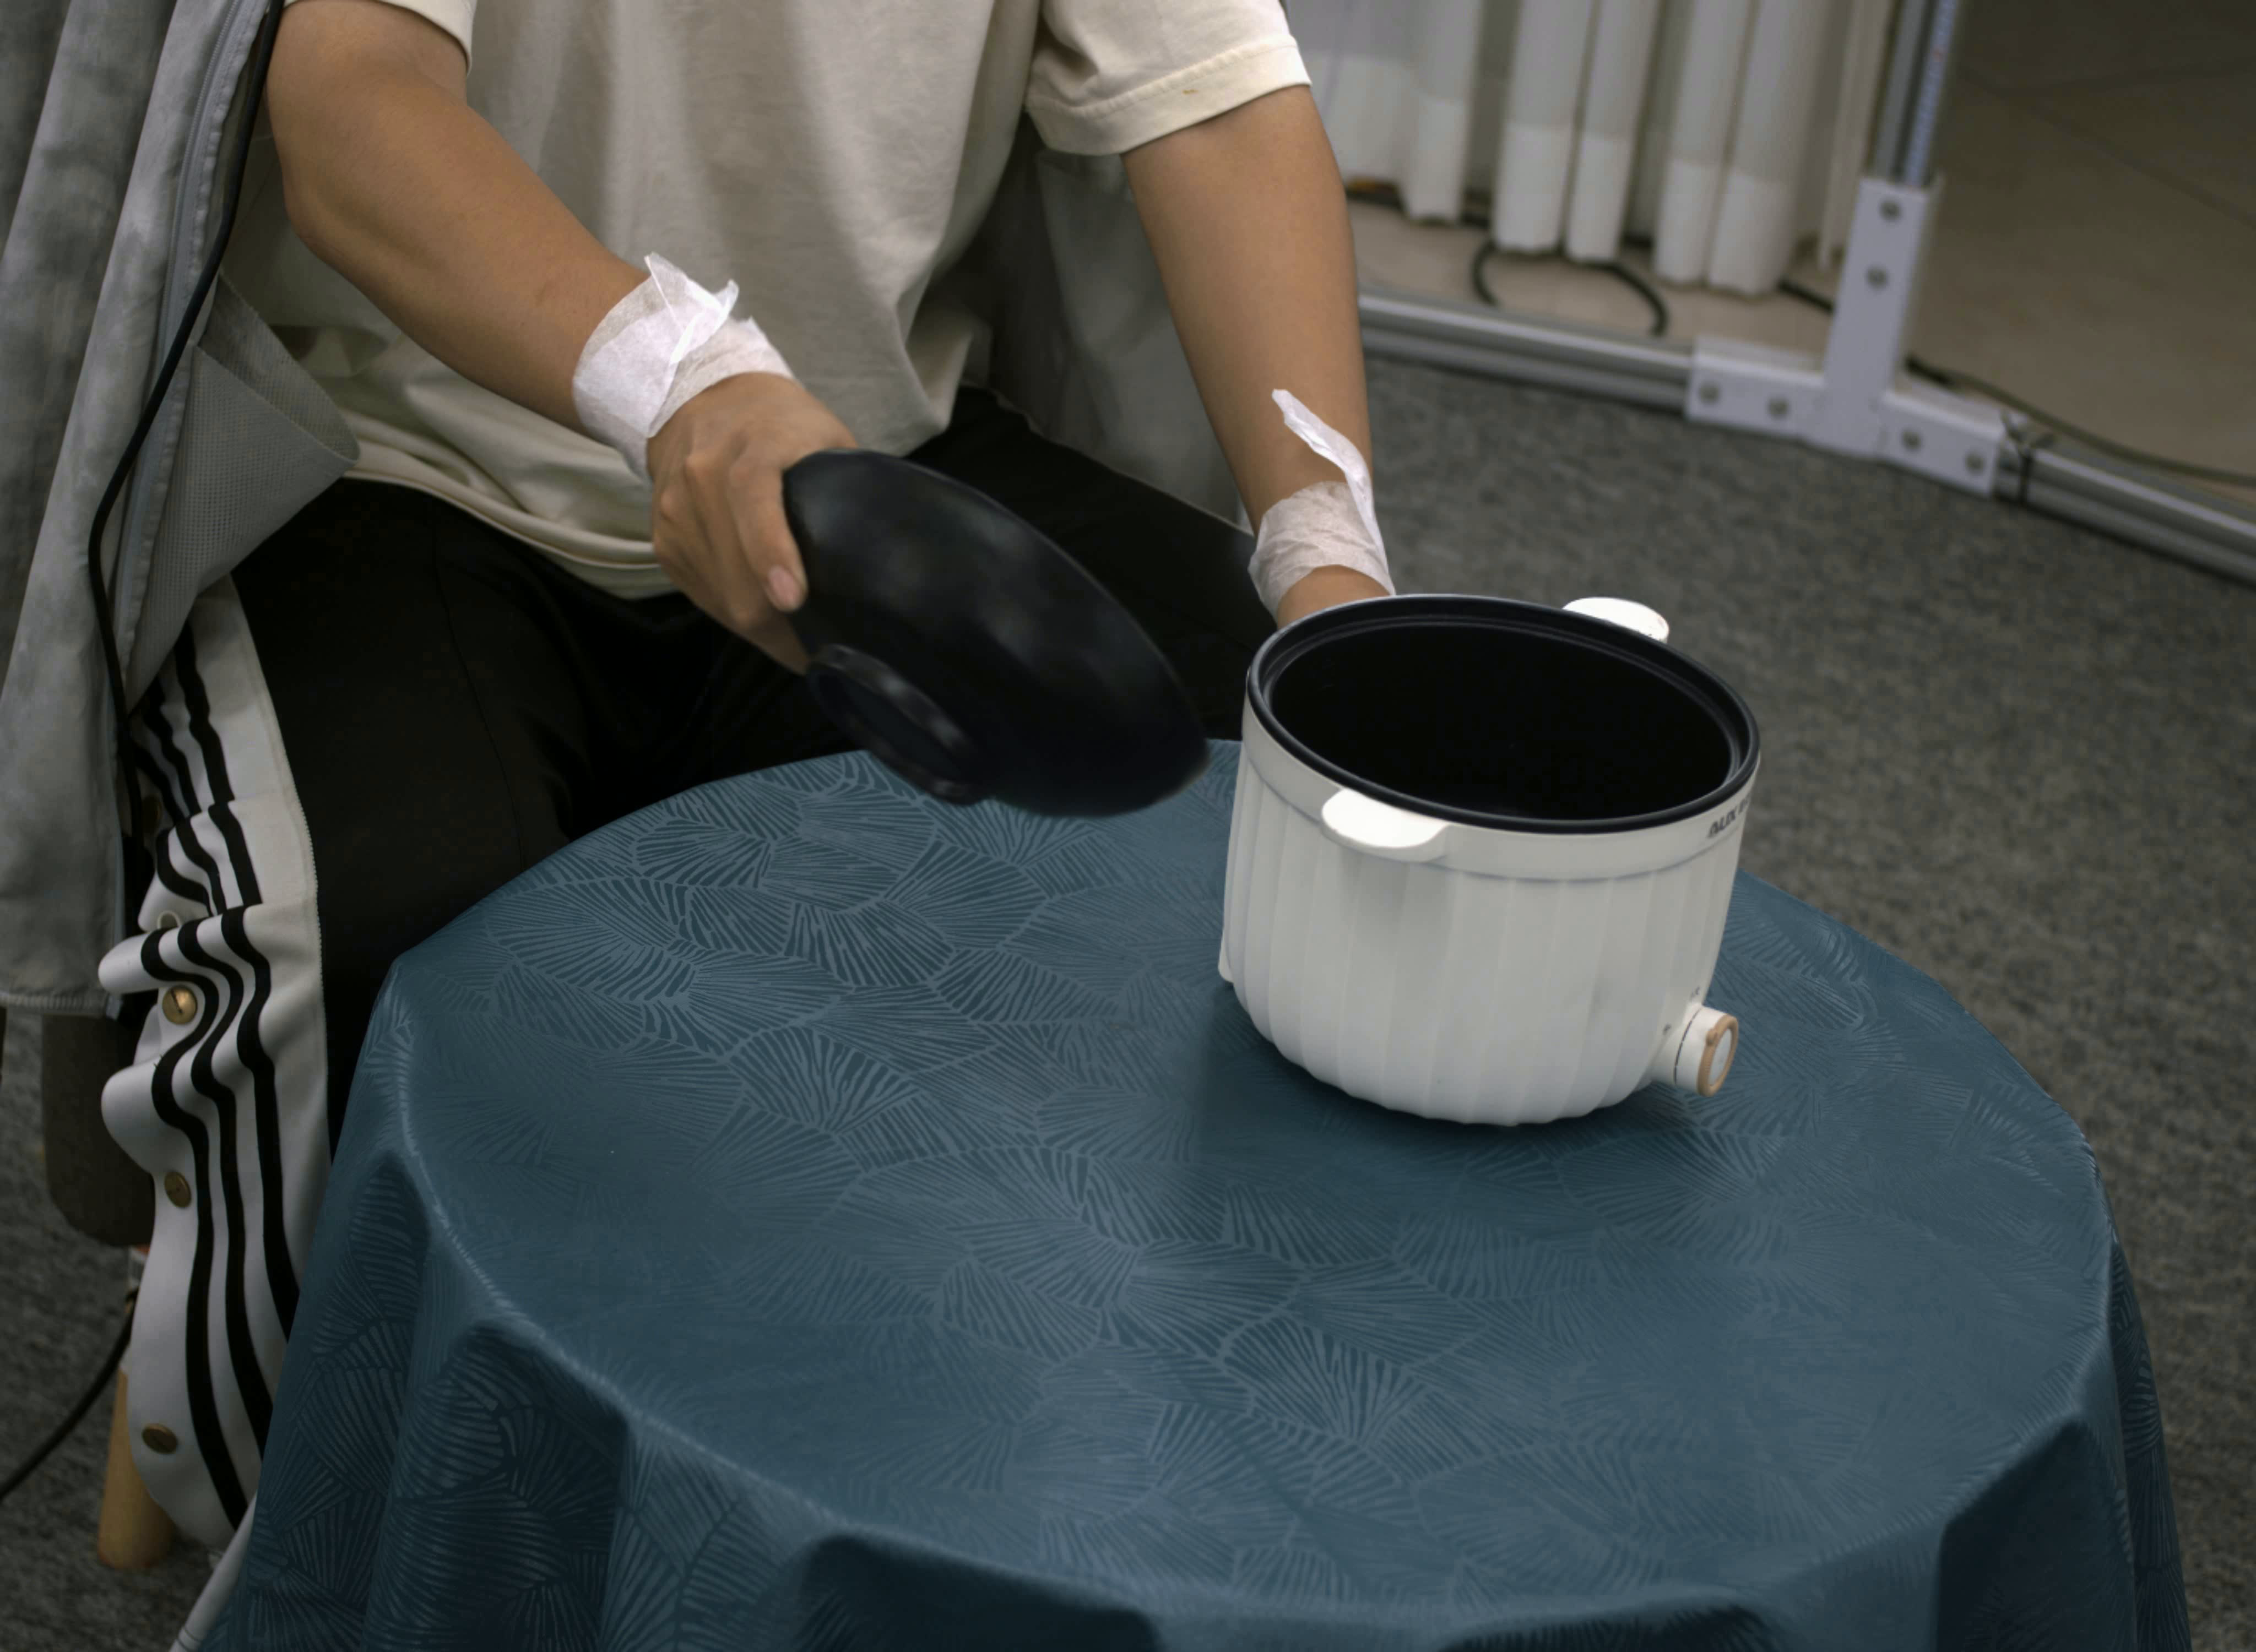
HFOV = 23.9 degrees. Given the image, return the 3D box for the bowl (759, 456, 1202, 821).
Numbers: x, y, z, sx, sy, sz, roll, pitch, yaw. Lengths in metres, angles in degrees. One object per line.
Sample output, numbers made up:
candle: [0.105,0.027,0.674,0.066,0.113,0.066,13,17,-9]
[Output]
bowl: [-0.059,-0.050,1.707,0.171,0.136,0.067,35,73,14]

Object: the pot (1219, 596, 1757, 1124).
pot: [0.129,0.017,1.891,0.191,0.142,0.240,15,28,23]
